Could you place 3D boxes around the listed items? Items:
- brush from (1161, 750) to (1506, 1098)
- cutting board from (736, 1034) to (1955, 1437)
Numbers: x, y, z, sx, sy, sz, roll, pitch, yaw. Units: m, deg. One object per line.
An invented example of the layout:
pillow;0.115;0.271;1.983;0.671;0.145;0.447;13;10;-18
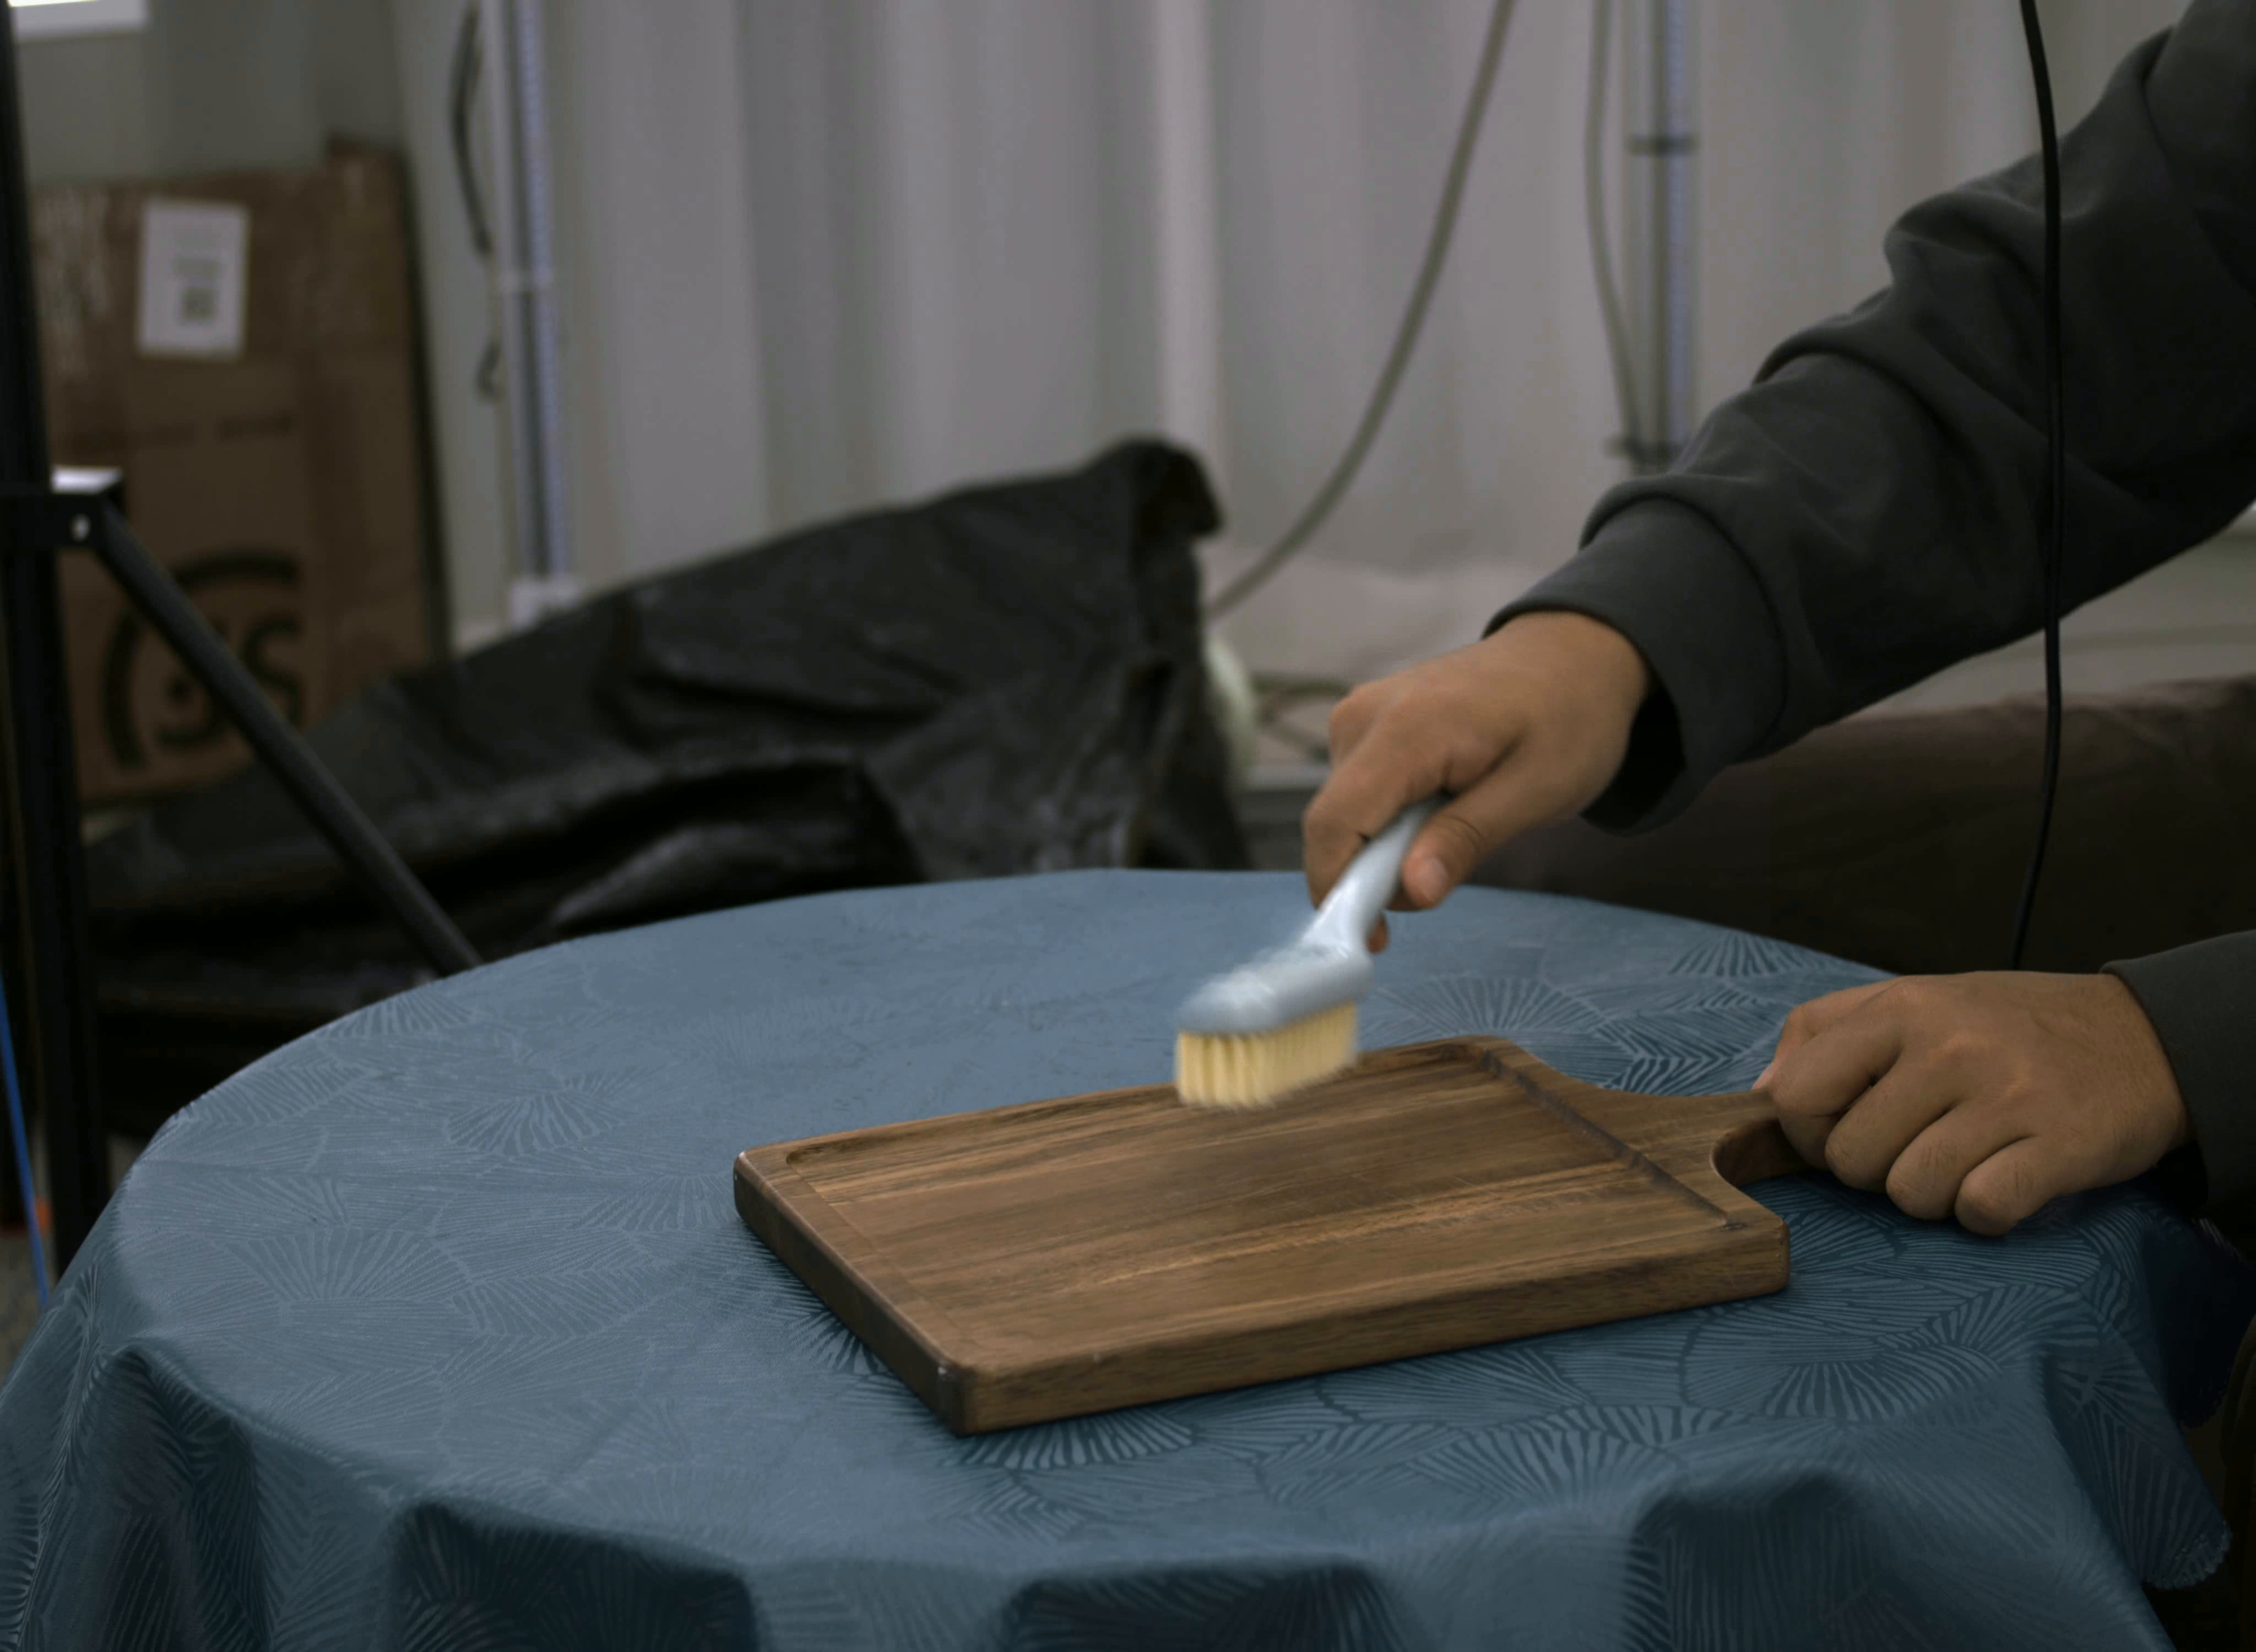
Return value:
brush;0.066;0.029;1.568;0.038;0.049;0.226;1;21;24
cutting board;0.082;0.105;1.516;0.346;0.023;0.204;-8;17;-19
